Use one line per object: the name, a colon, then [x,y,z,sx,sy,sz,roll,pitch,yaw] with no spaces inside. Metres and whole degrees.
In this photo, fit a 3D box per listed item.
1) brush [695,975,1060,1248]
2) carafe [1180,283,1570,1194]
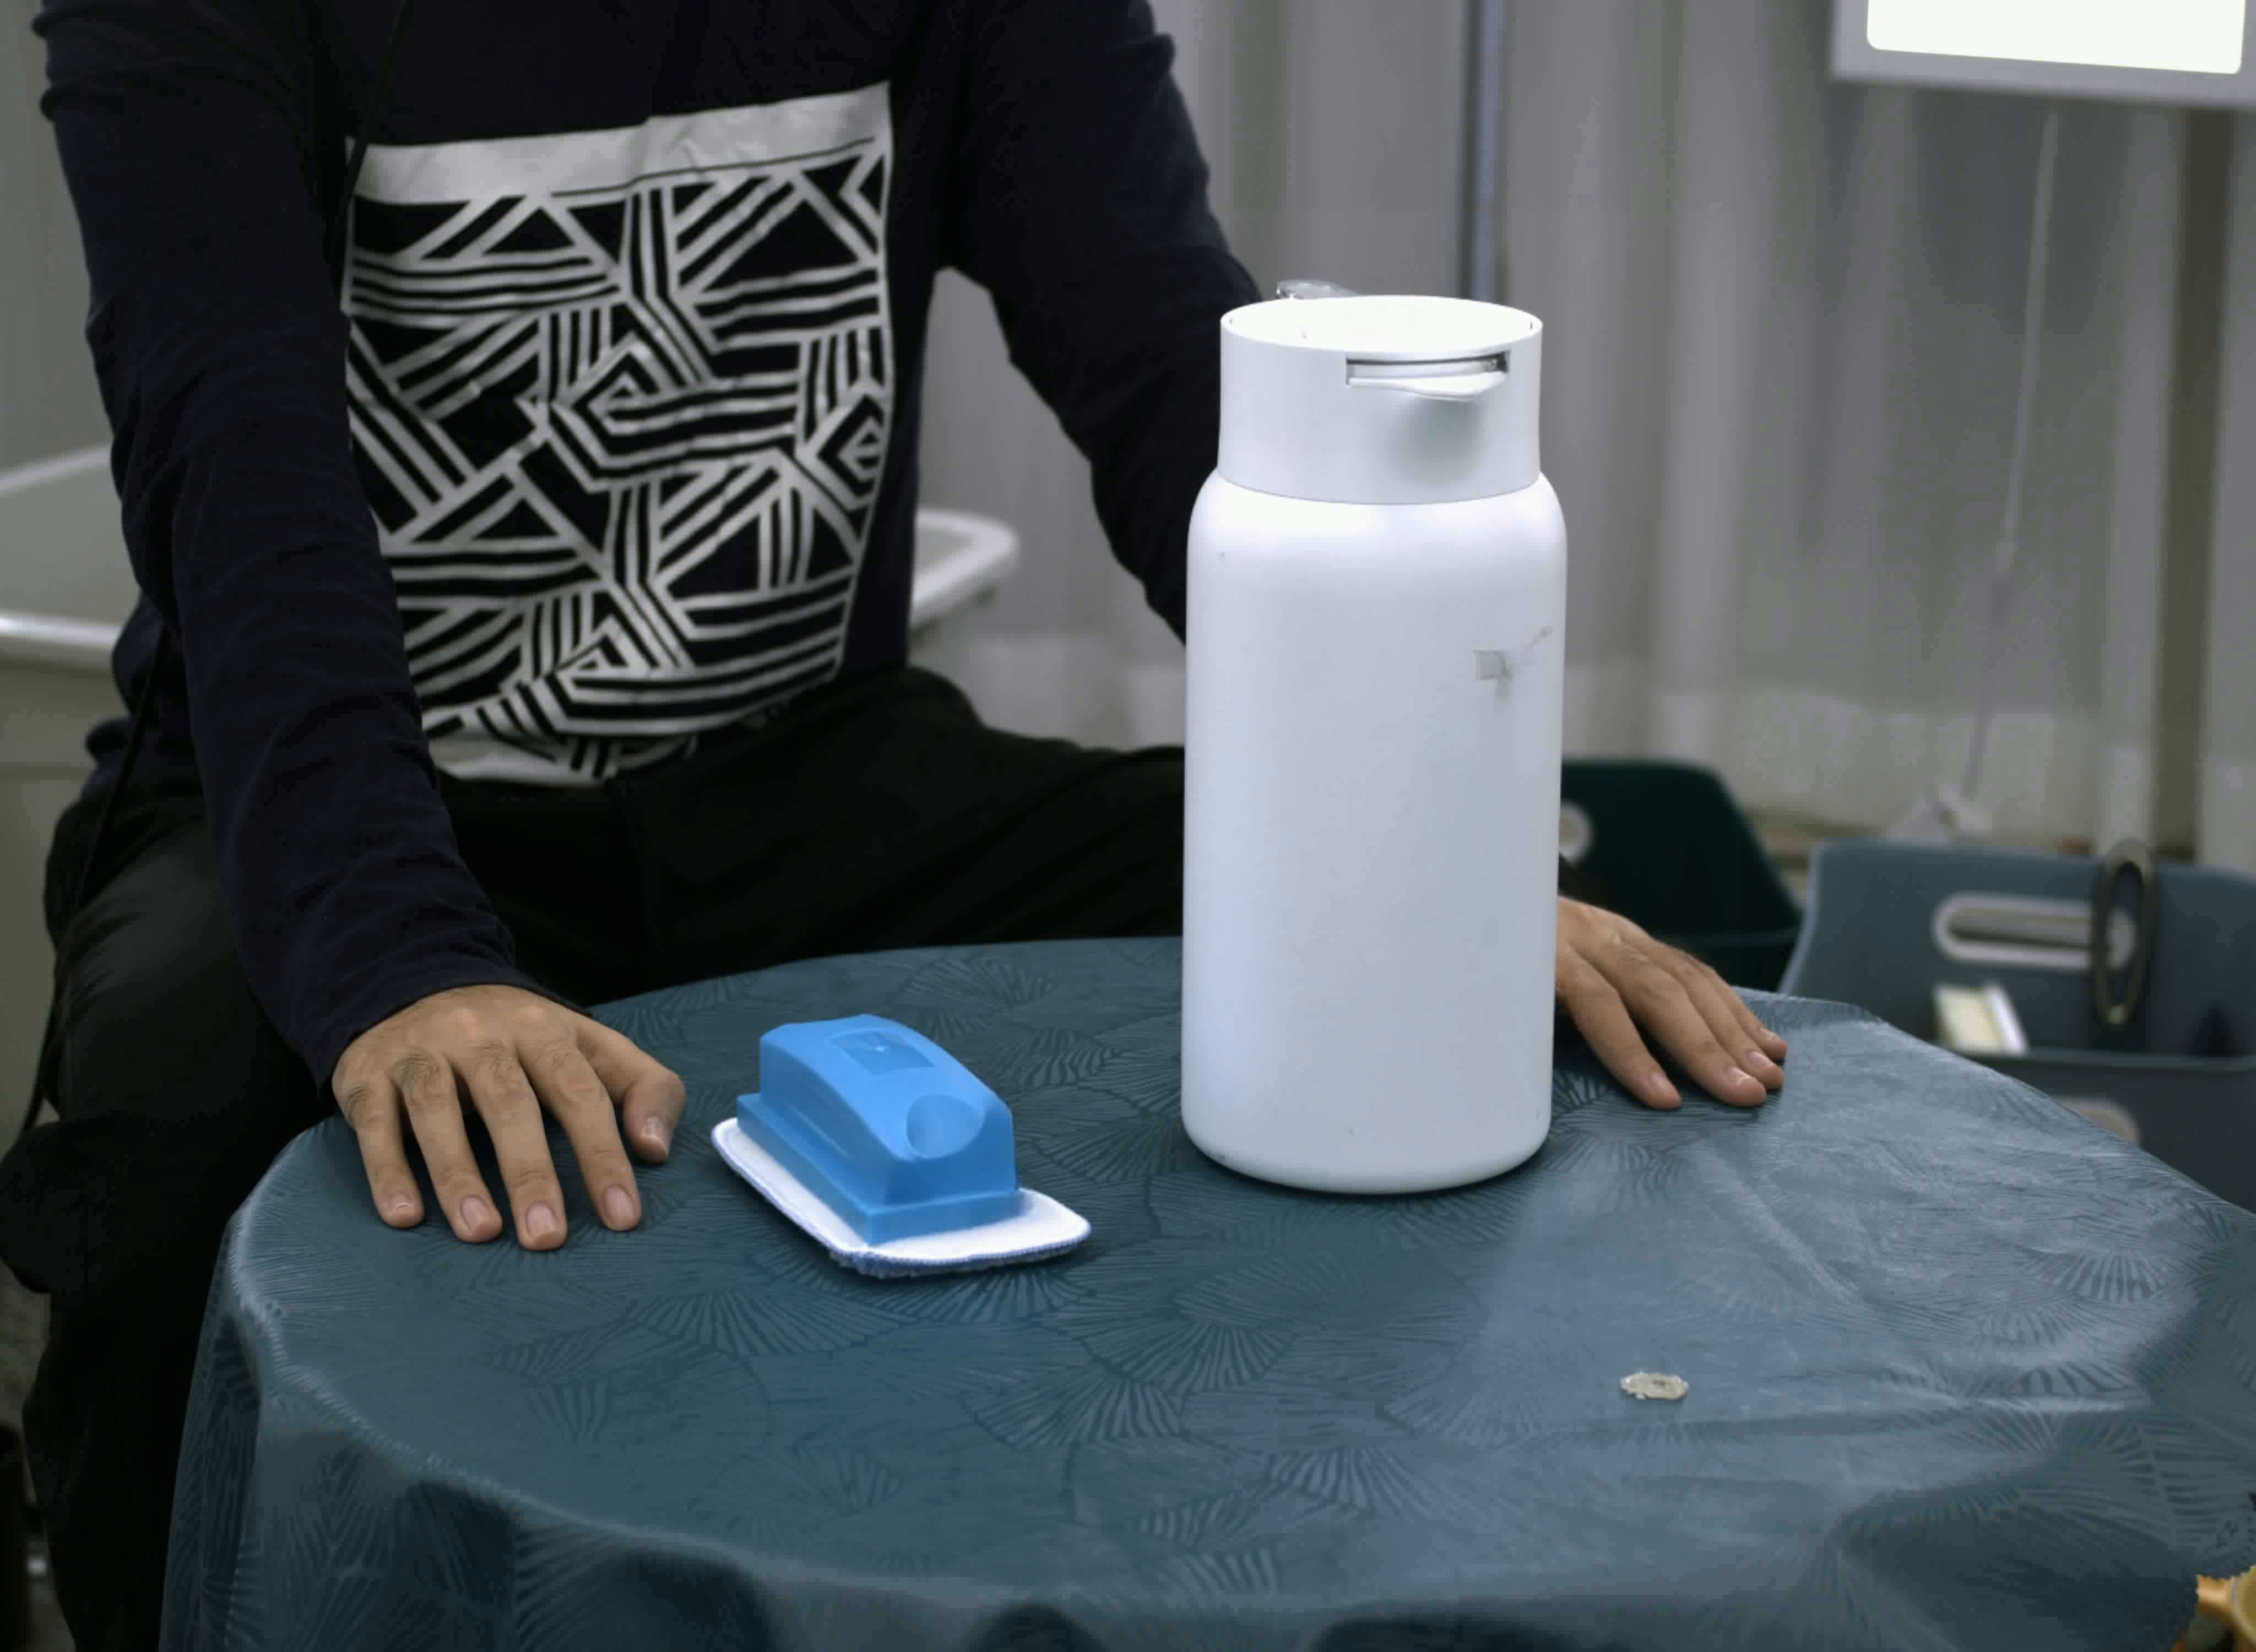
brush: [-0.076,0.084,1.606,0.084,0.056,0.142,-3,19,-22]
carafe: [0.070,-0.032,1.648,0.124,0.271,0.171,-7,17,-19]
